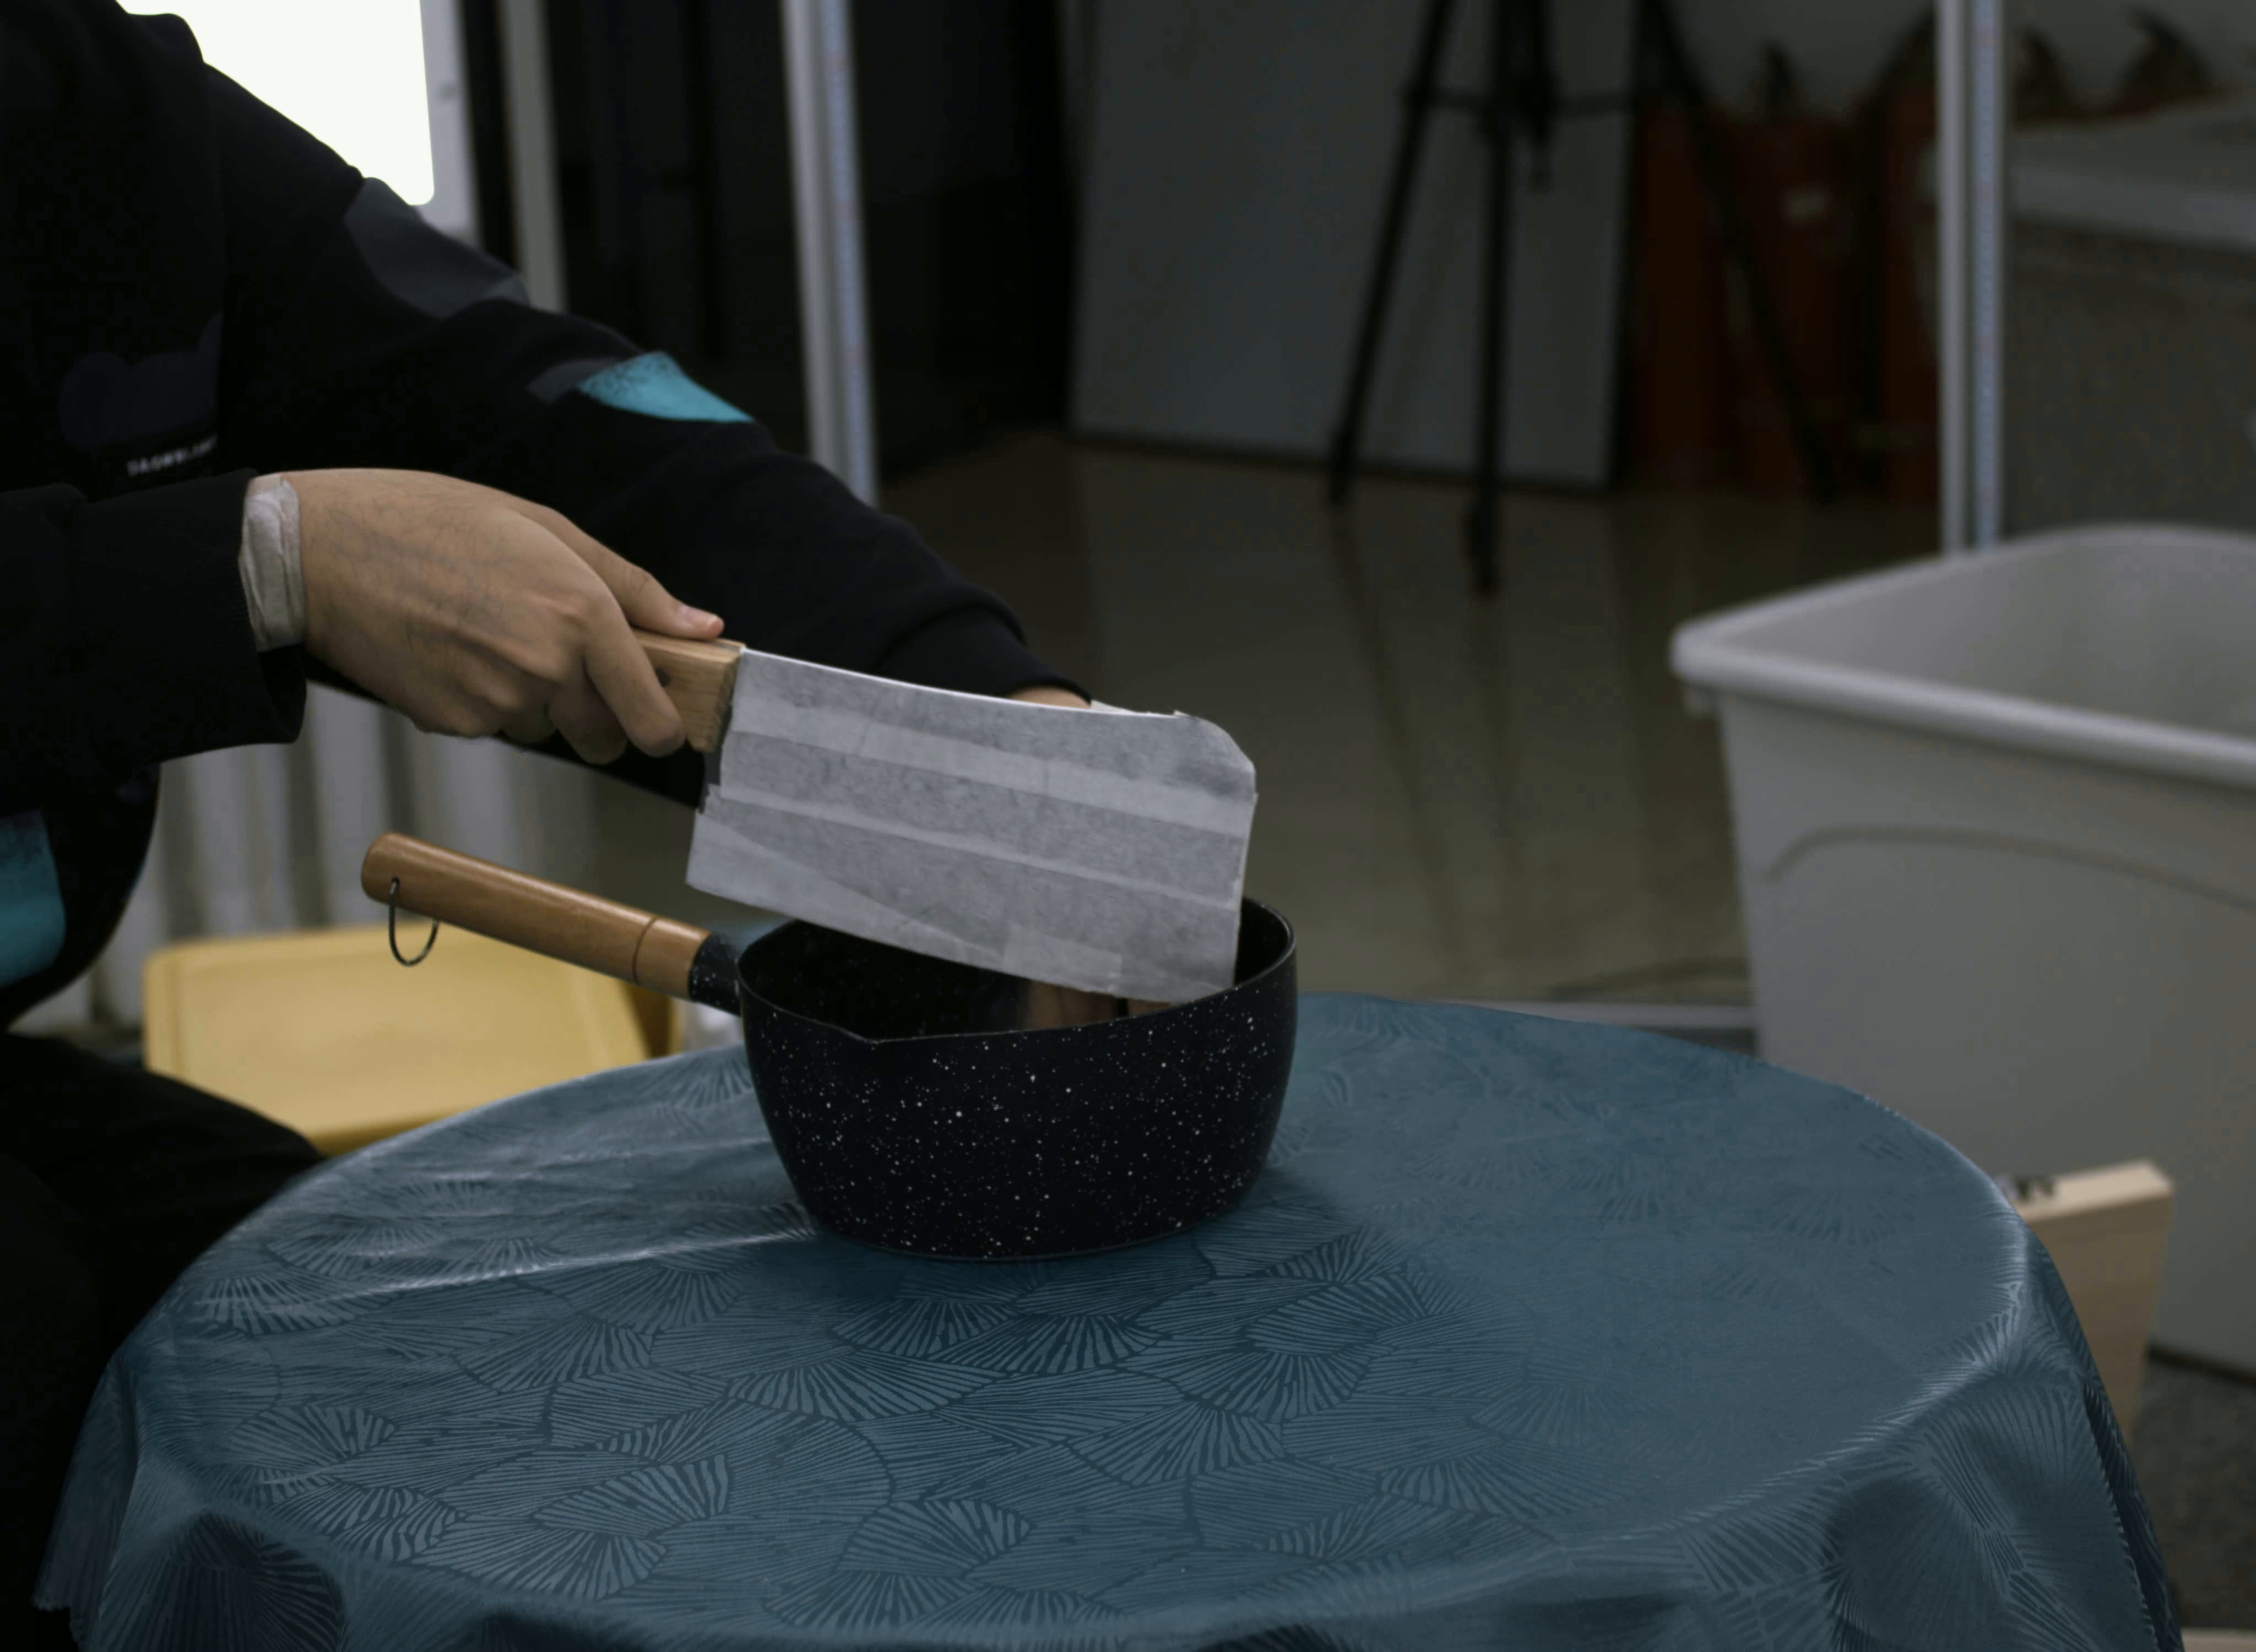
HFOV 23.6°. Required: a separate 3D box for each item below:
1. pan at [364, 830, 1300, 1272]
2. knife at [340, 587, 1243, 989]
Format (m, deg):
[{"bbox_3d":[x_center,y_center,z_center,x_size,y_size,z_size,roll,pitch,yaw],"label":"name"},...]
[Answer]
[{"bbox_3d":[-0.105,0.066,1.798,0.343,0.109,0.205,4,17,25],"label":"pan"},{"bbox_3d":[-0.107,-0.023,1.749,0.313,0.115,0.021,16,19,8],"label":"knife"}]
